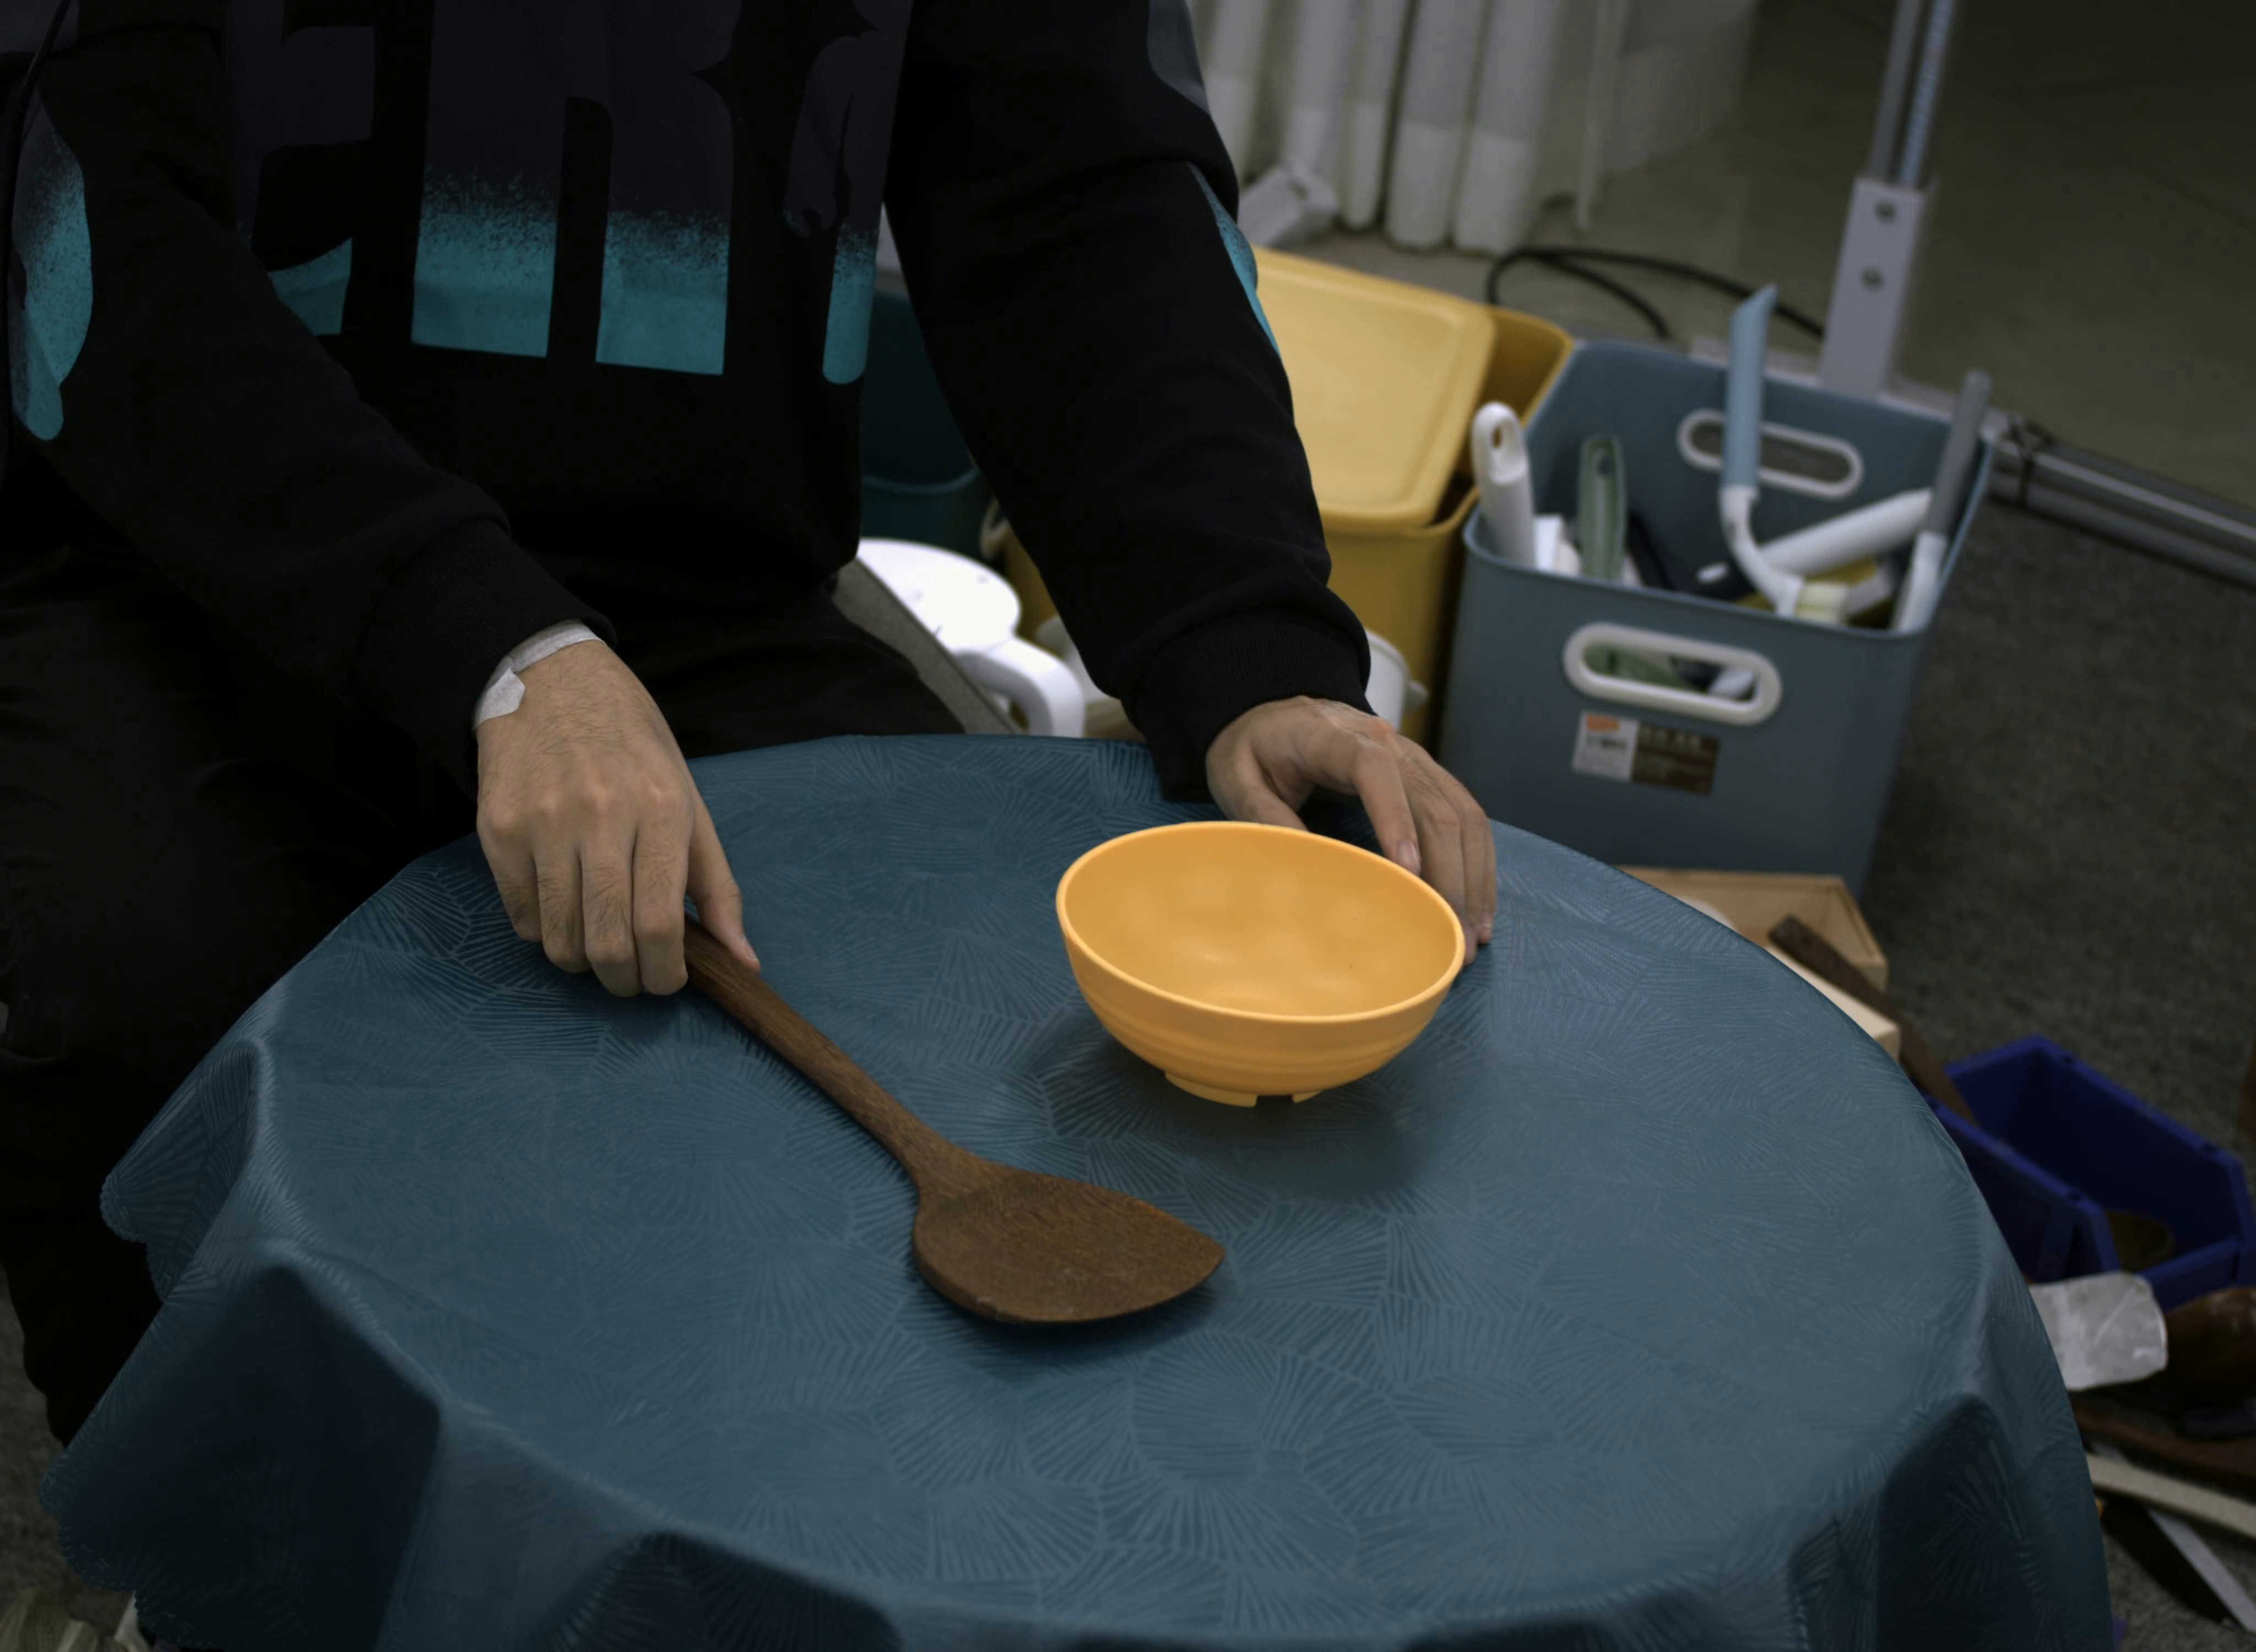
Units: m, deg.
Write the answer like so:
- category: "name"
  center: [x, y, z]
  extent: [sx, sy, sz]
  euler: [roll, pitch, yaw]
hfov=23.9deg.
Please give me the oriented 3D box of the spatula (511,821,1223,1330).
- category: "spatula"
  center: [-0.111, 0.079, 1.848]
  extent: [0.095, 0.016, 0.389]
  euler: [-13, 33, -35]

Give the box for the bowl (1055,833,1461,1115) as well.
- category: "bowl"
  center: [0.042, 0.060, 1.875]
  extent: [0.145, 0.060, 0.146]
  euler: [7, 24, -3]
